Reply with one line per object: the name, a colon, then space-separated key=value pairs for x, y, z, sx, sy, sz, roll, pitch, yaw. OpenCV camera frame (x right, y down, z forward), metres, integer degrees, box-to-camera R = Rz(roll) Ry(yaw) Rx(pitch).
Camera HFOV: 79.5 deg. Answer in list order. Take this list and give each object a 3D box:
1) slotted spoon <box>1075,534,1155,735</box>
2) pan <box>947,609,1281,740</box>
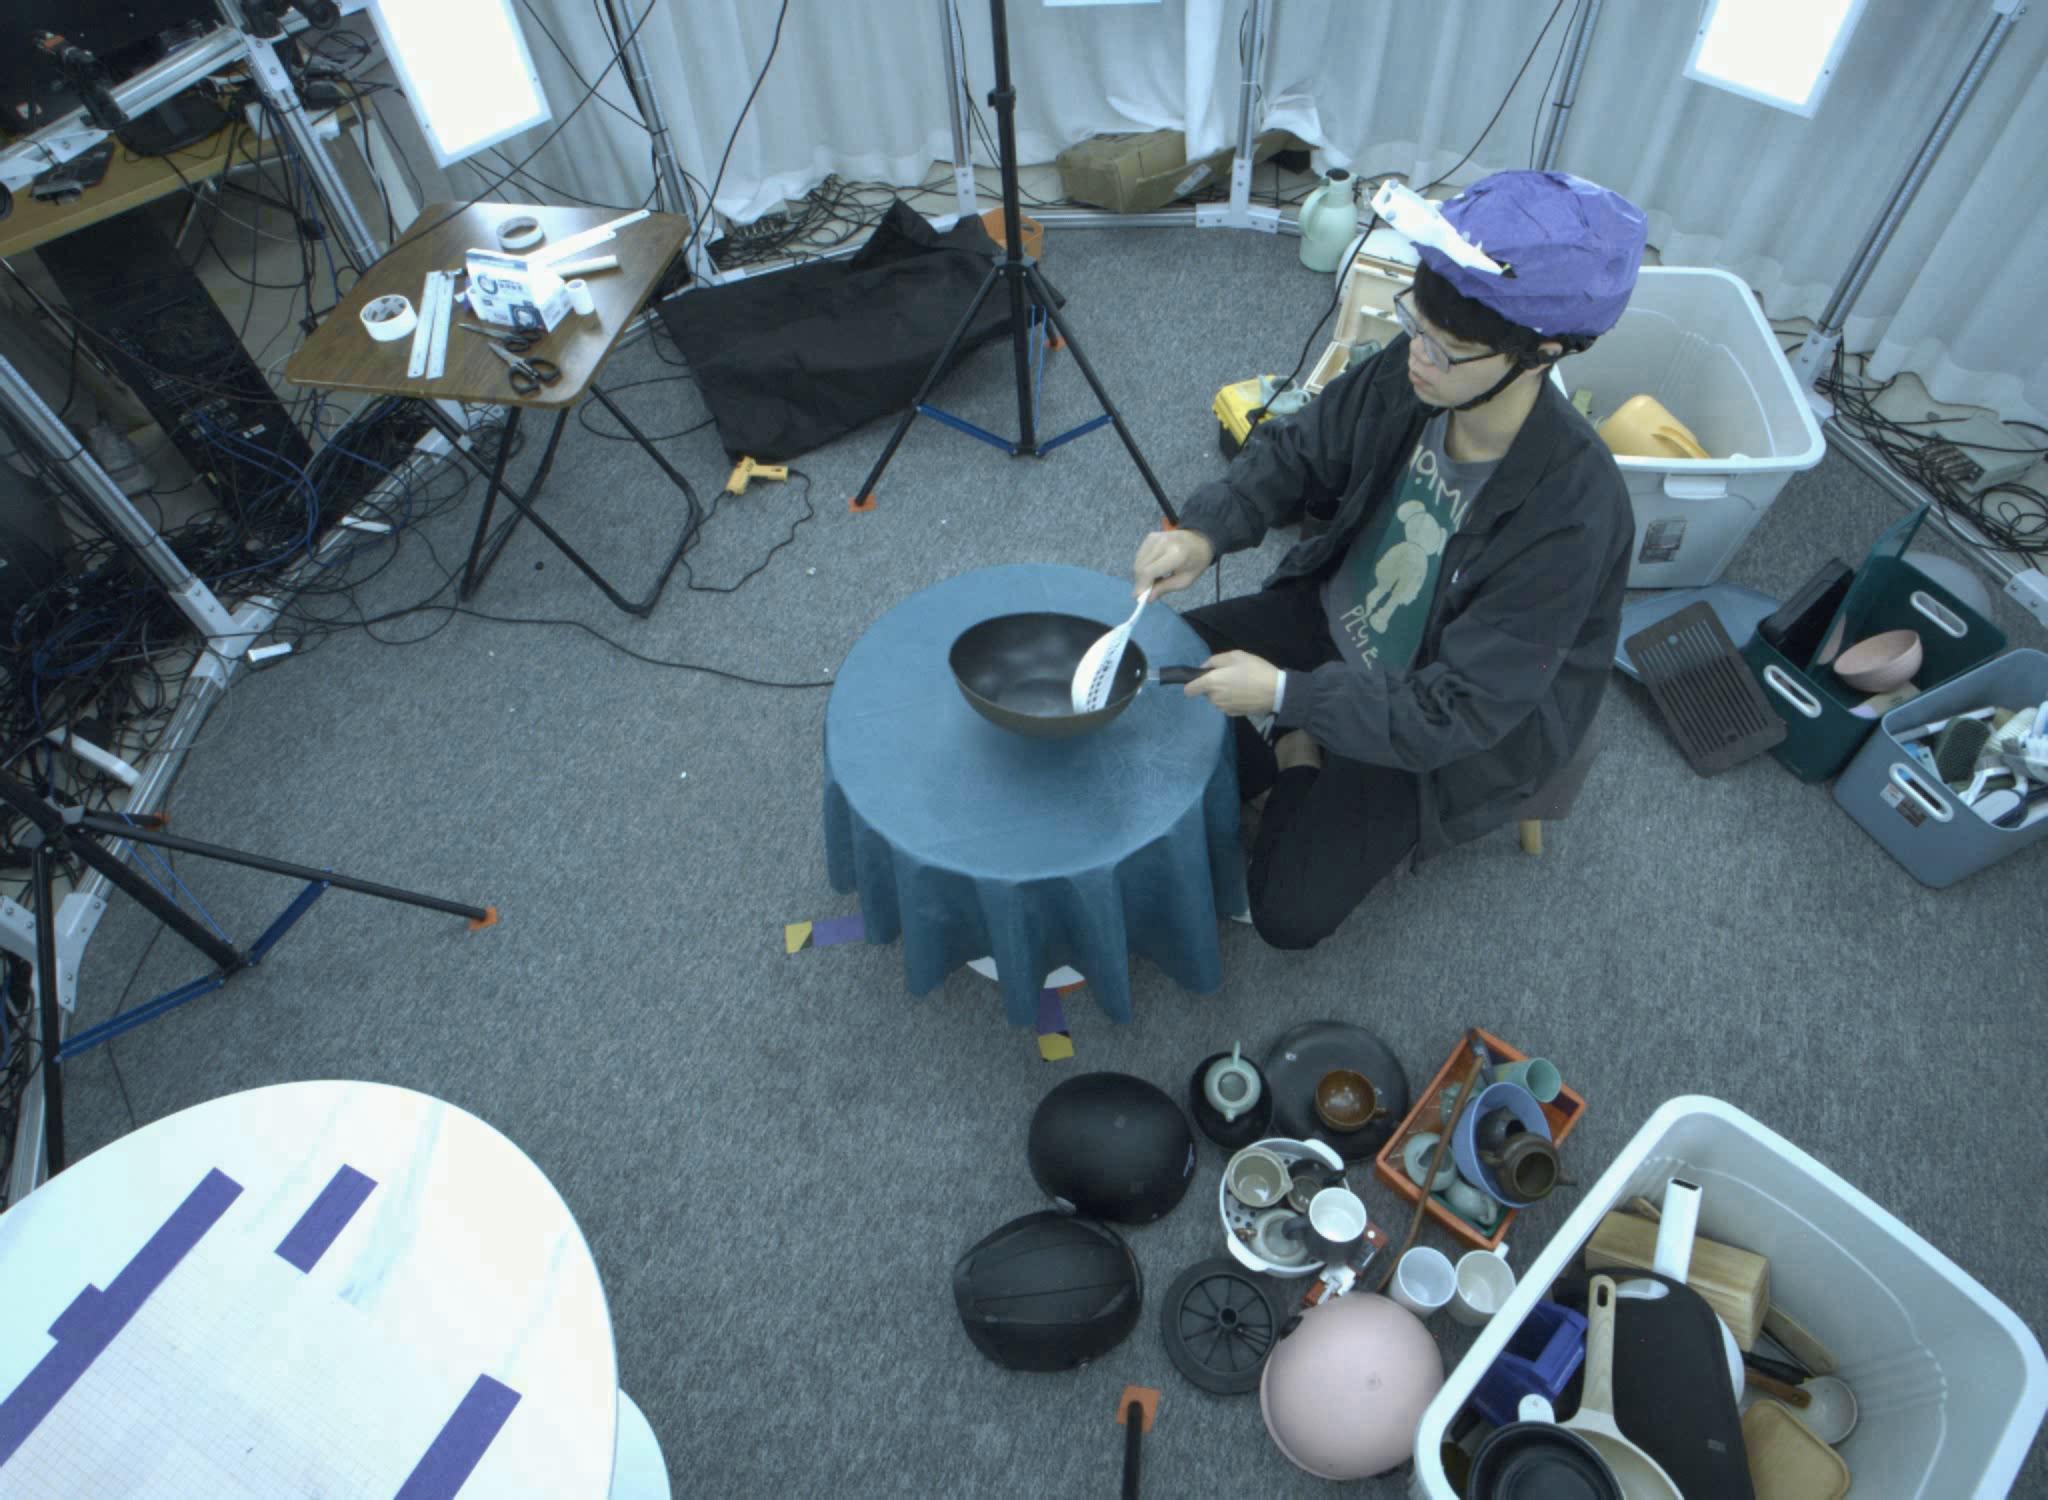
slotted spoon: x=0.138 y=-0.173 z=1.711 sx=0.050 sy=0.138 sz=0.348 roll=19 pitch=57 yaw=16
pan: x=0.122 y=-0.087 z=1.718 sx=0.464 sy=0.087 sz=0.285 roll=5 pitch=36 yaw=0
